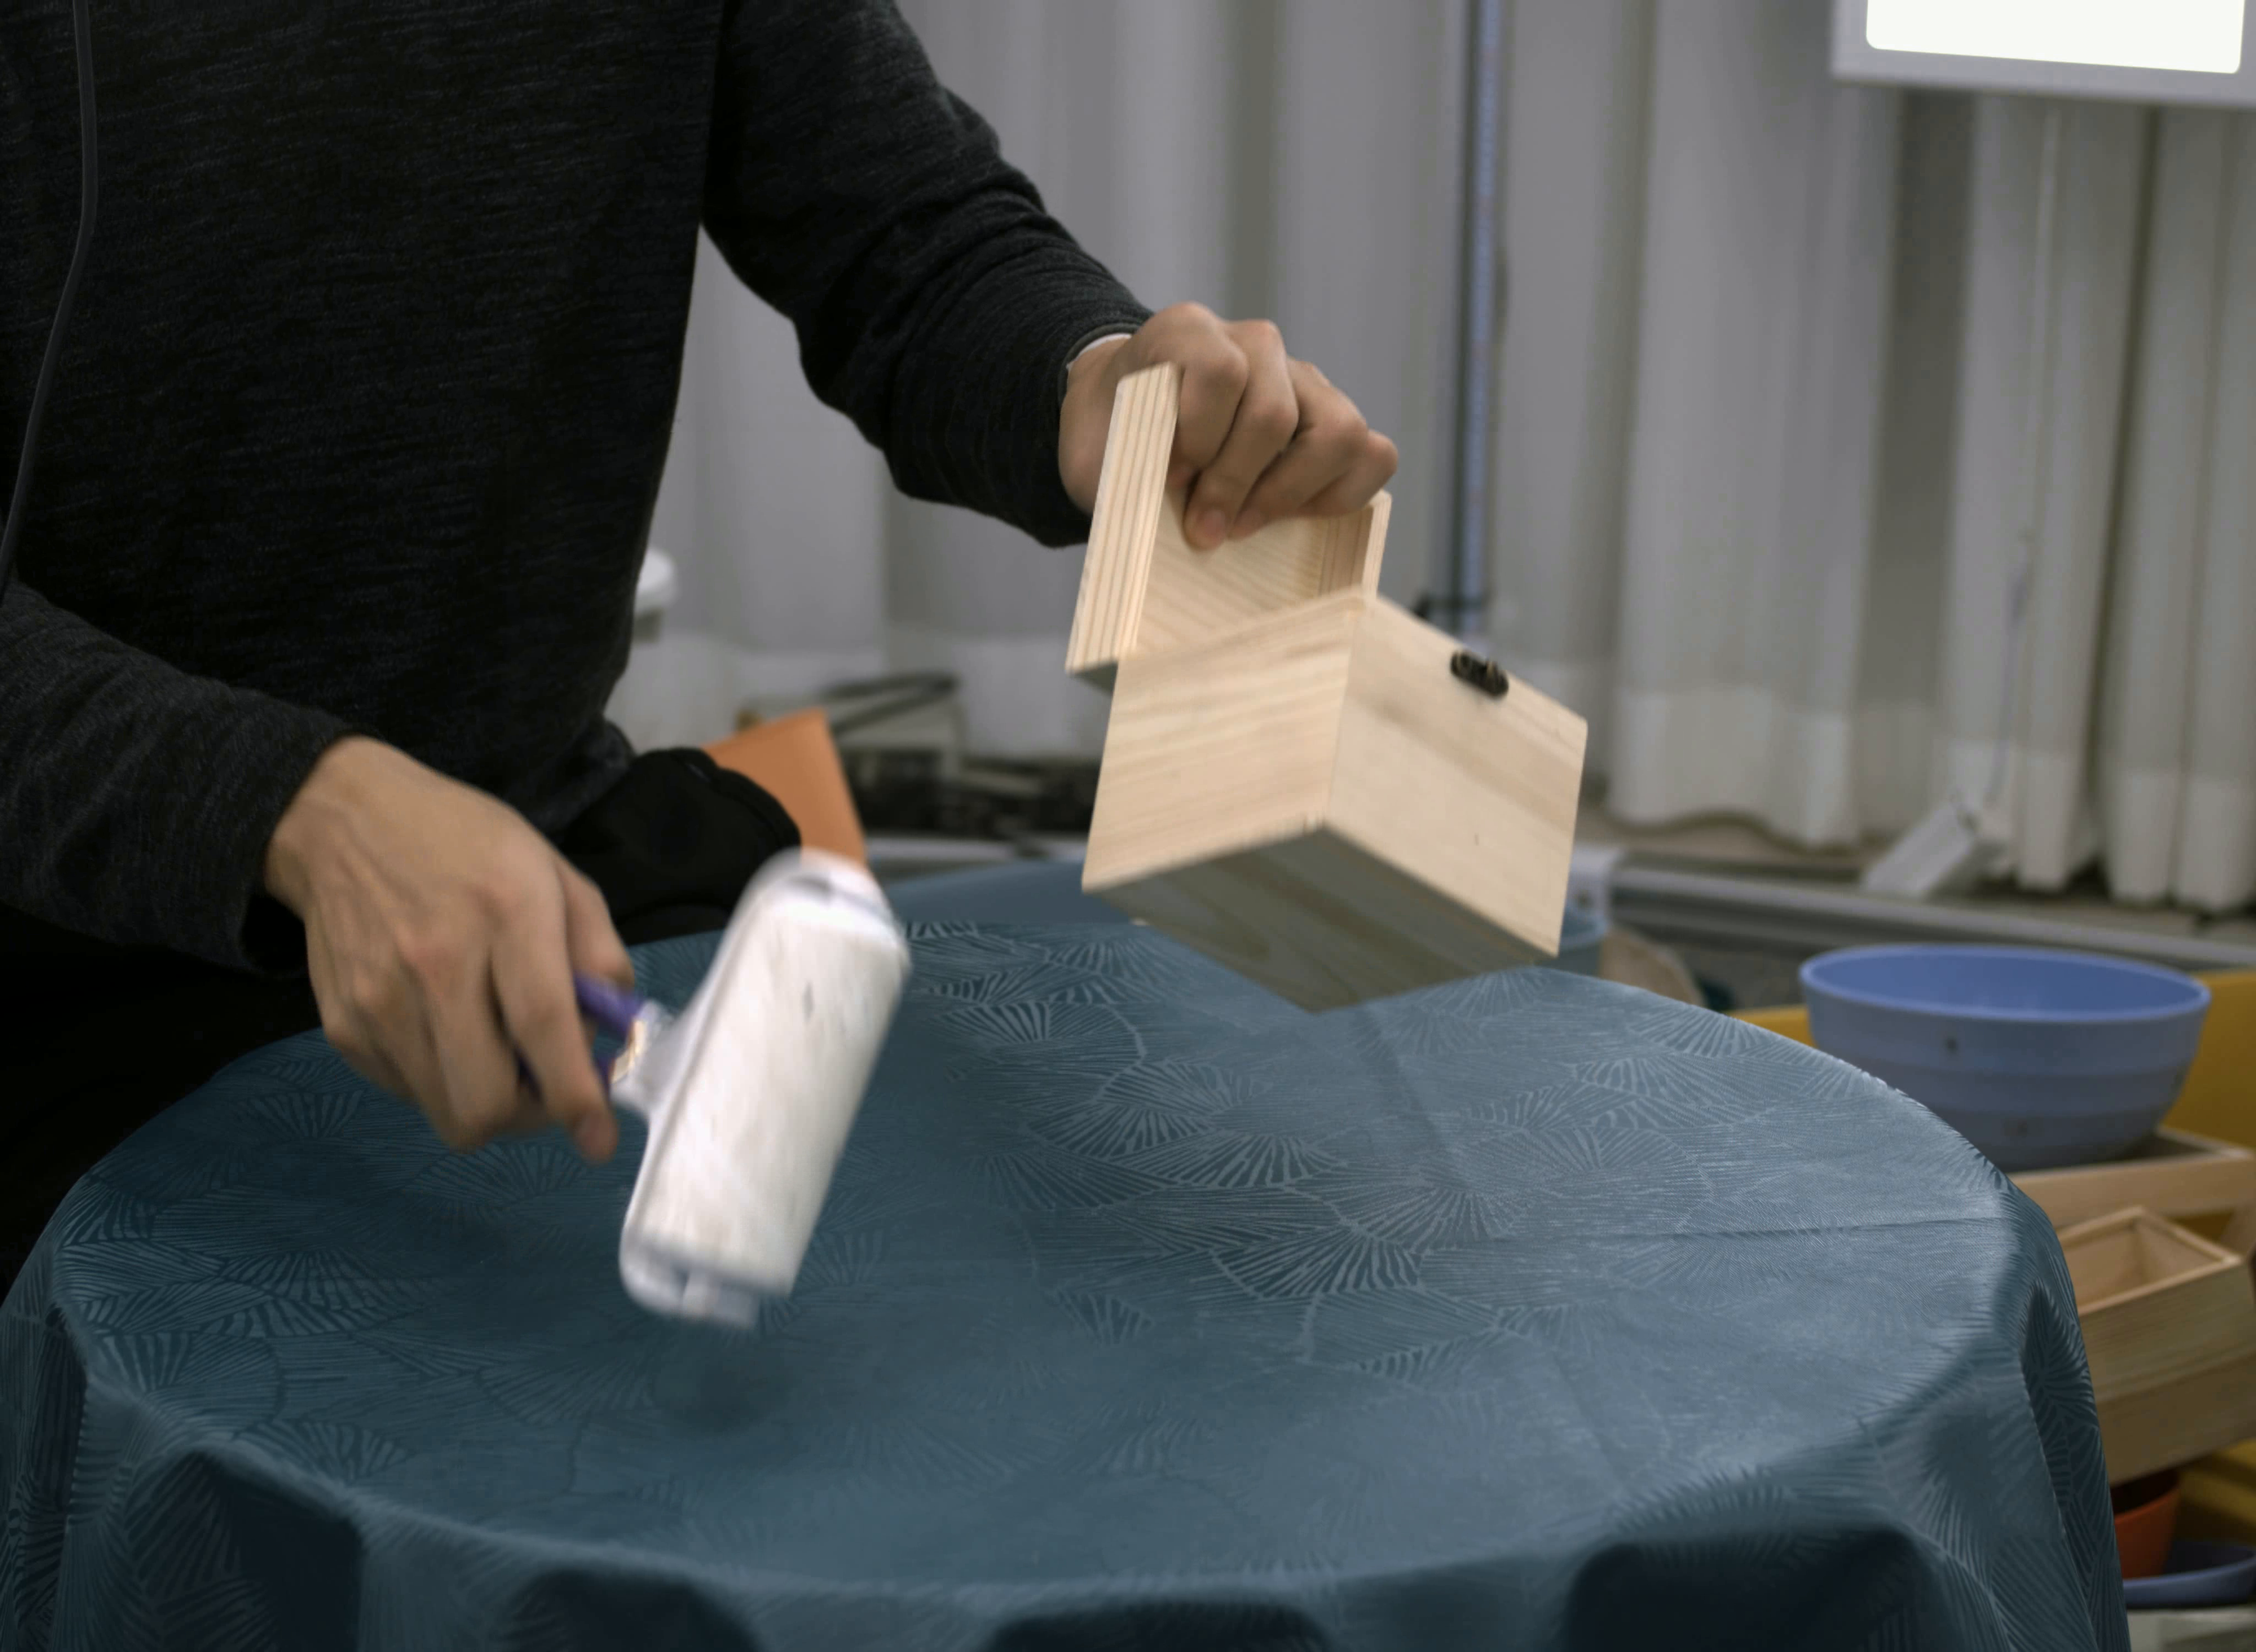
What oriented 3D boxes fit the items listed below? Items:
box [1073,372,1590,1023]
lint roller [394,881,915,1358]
[{"bbox_3d":[0.064,-0.049,1.580,0.104,0.184,0.133,28,-29,-37],"label":"box"},{"bbox_3d":[-0.149,0.064,1.475,0.178,0.133,0.051,18,-7,33],"label":"lint roller"}]
